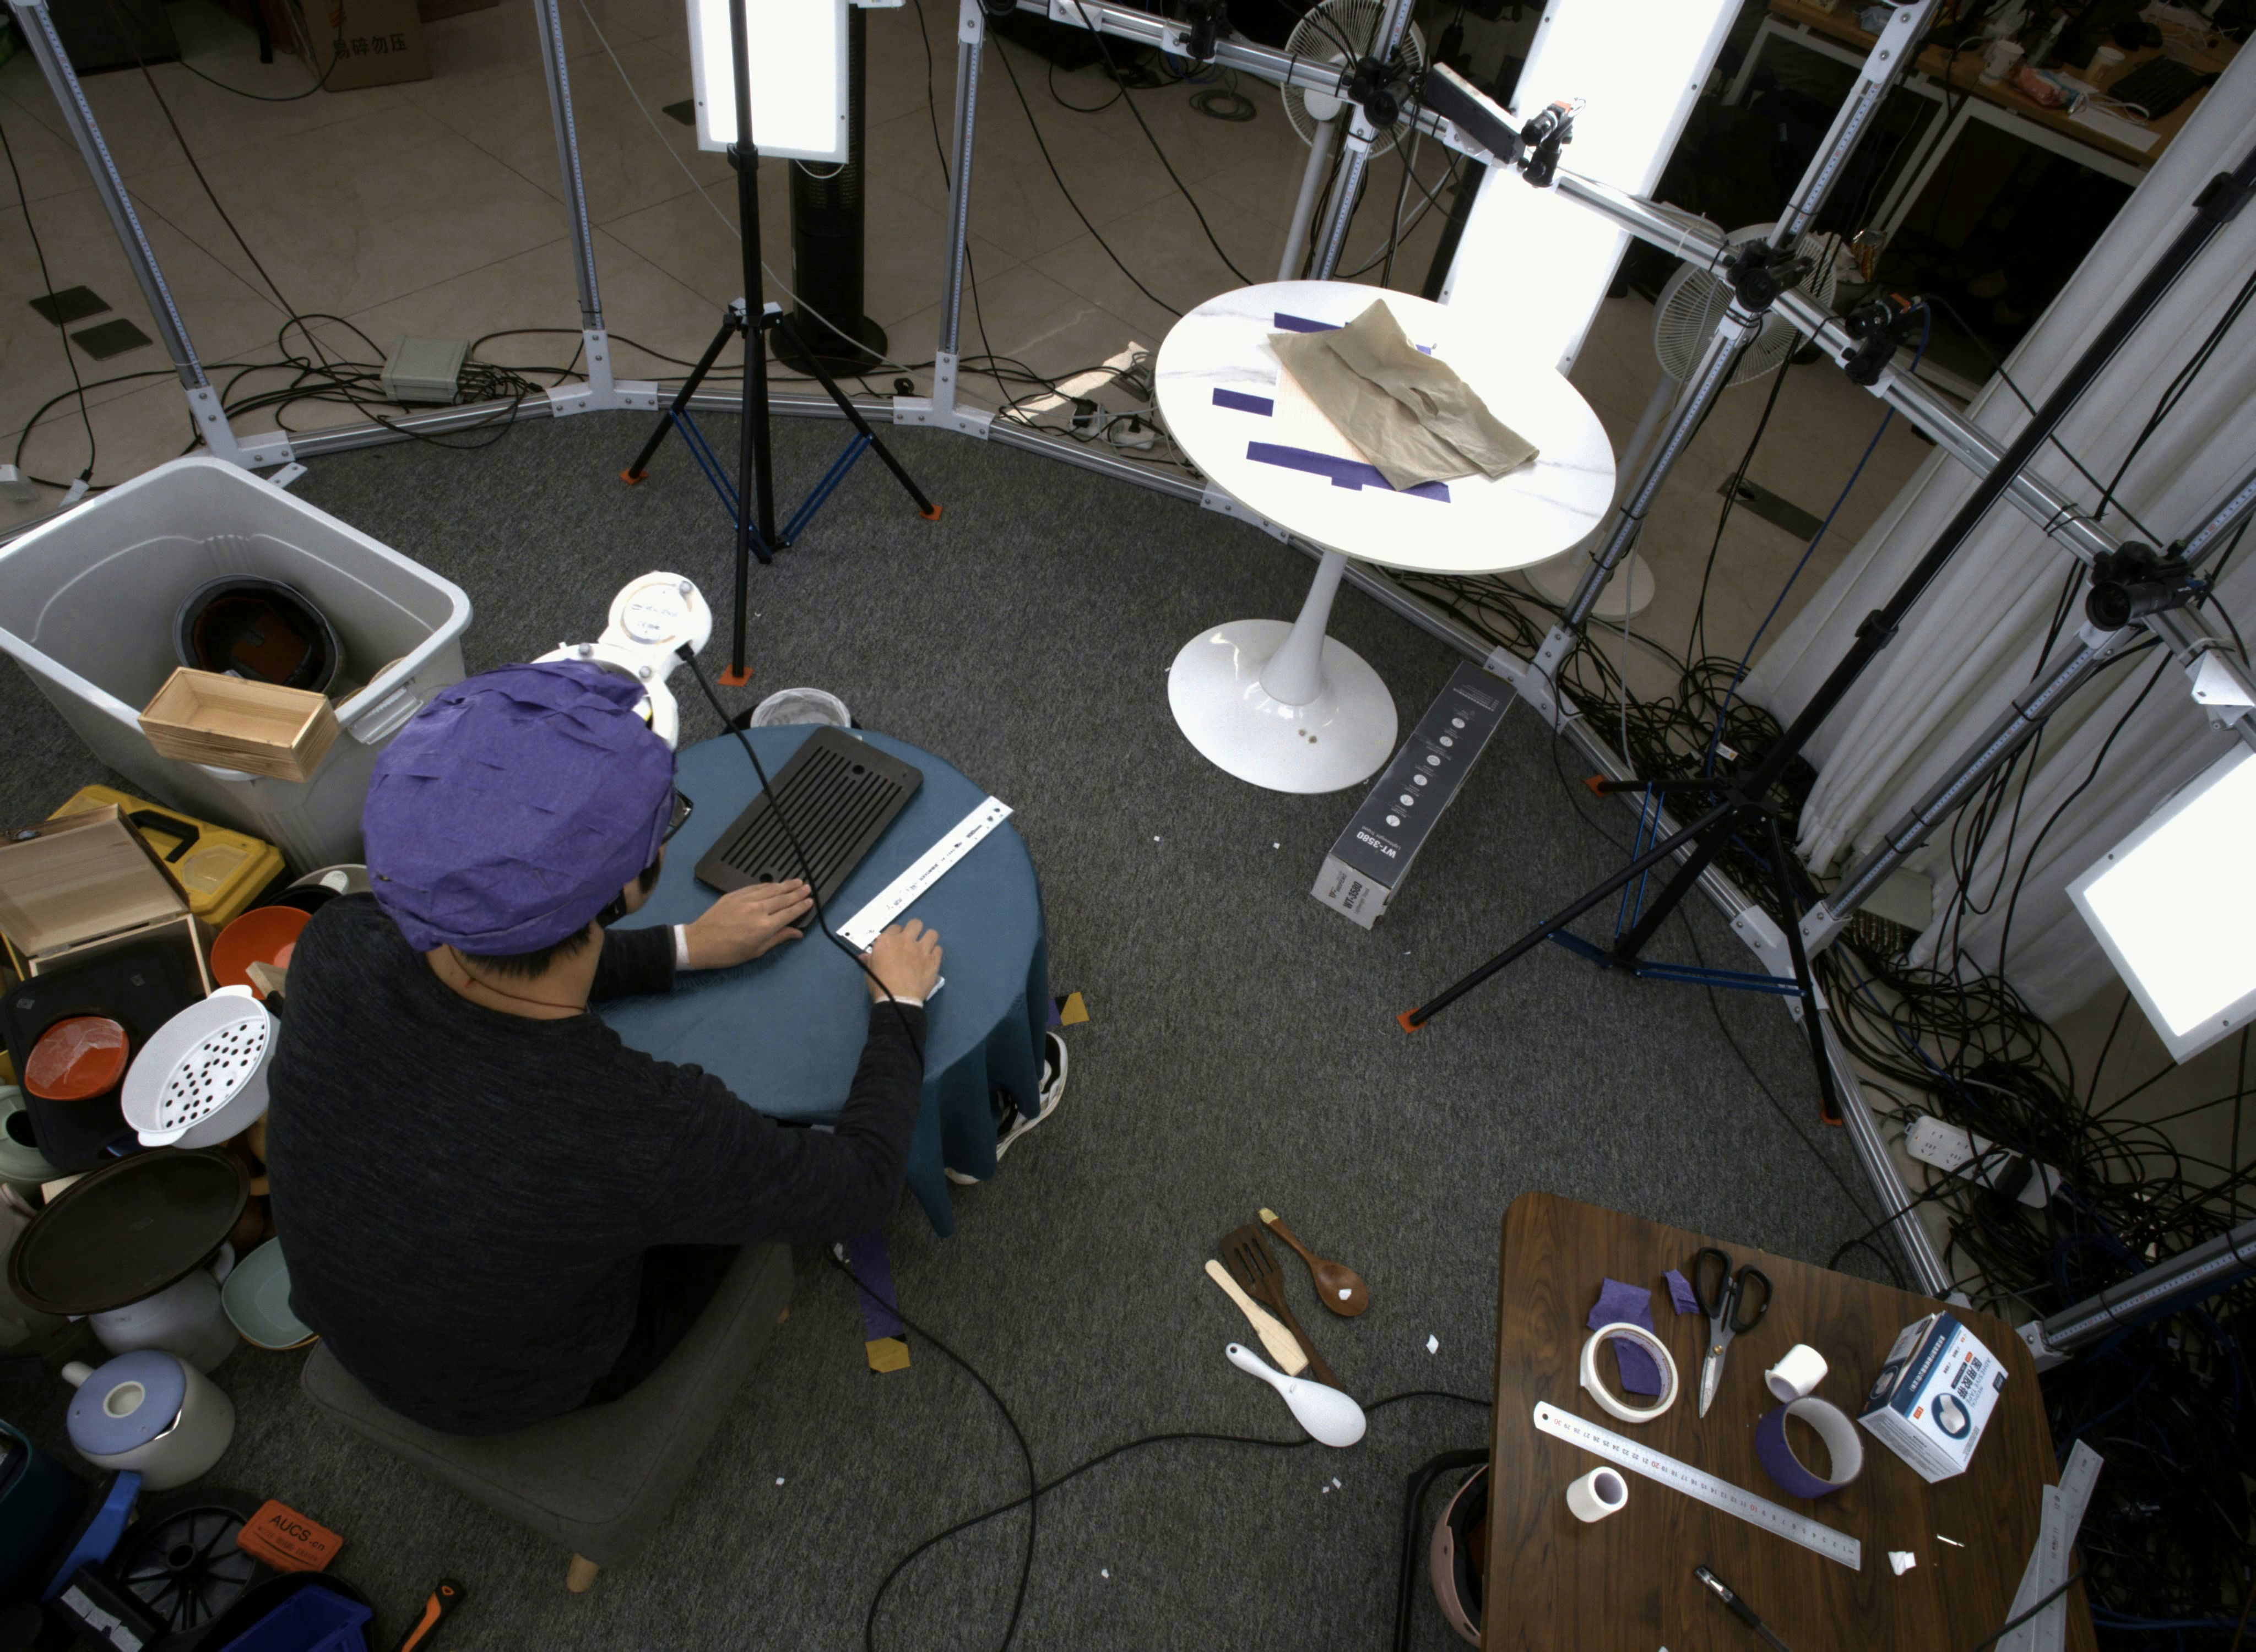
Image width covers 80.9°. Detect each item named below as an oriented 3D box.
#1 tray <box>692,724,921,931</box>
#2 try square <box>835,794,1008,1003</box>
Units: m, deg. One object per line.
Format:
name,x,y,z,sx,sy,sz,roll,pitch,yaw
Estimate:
tray,-0.419,-0.004,1.712,0.168,0.019,0.304,27,52,6
try square,-0.223,0.084,1.703,0.149,0.016,0.312,34,52,13
